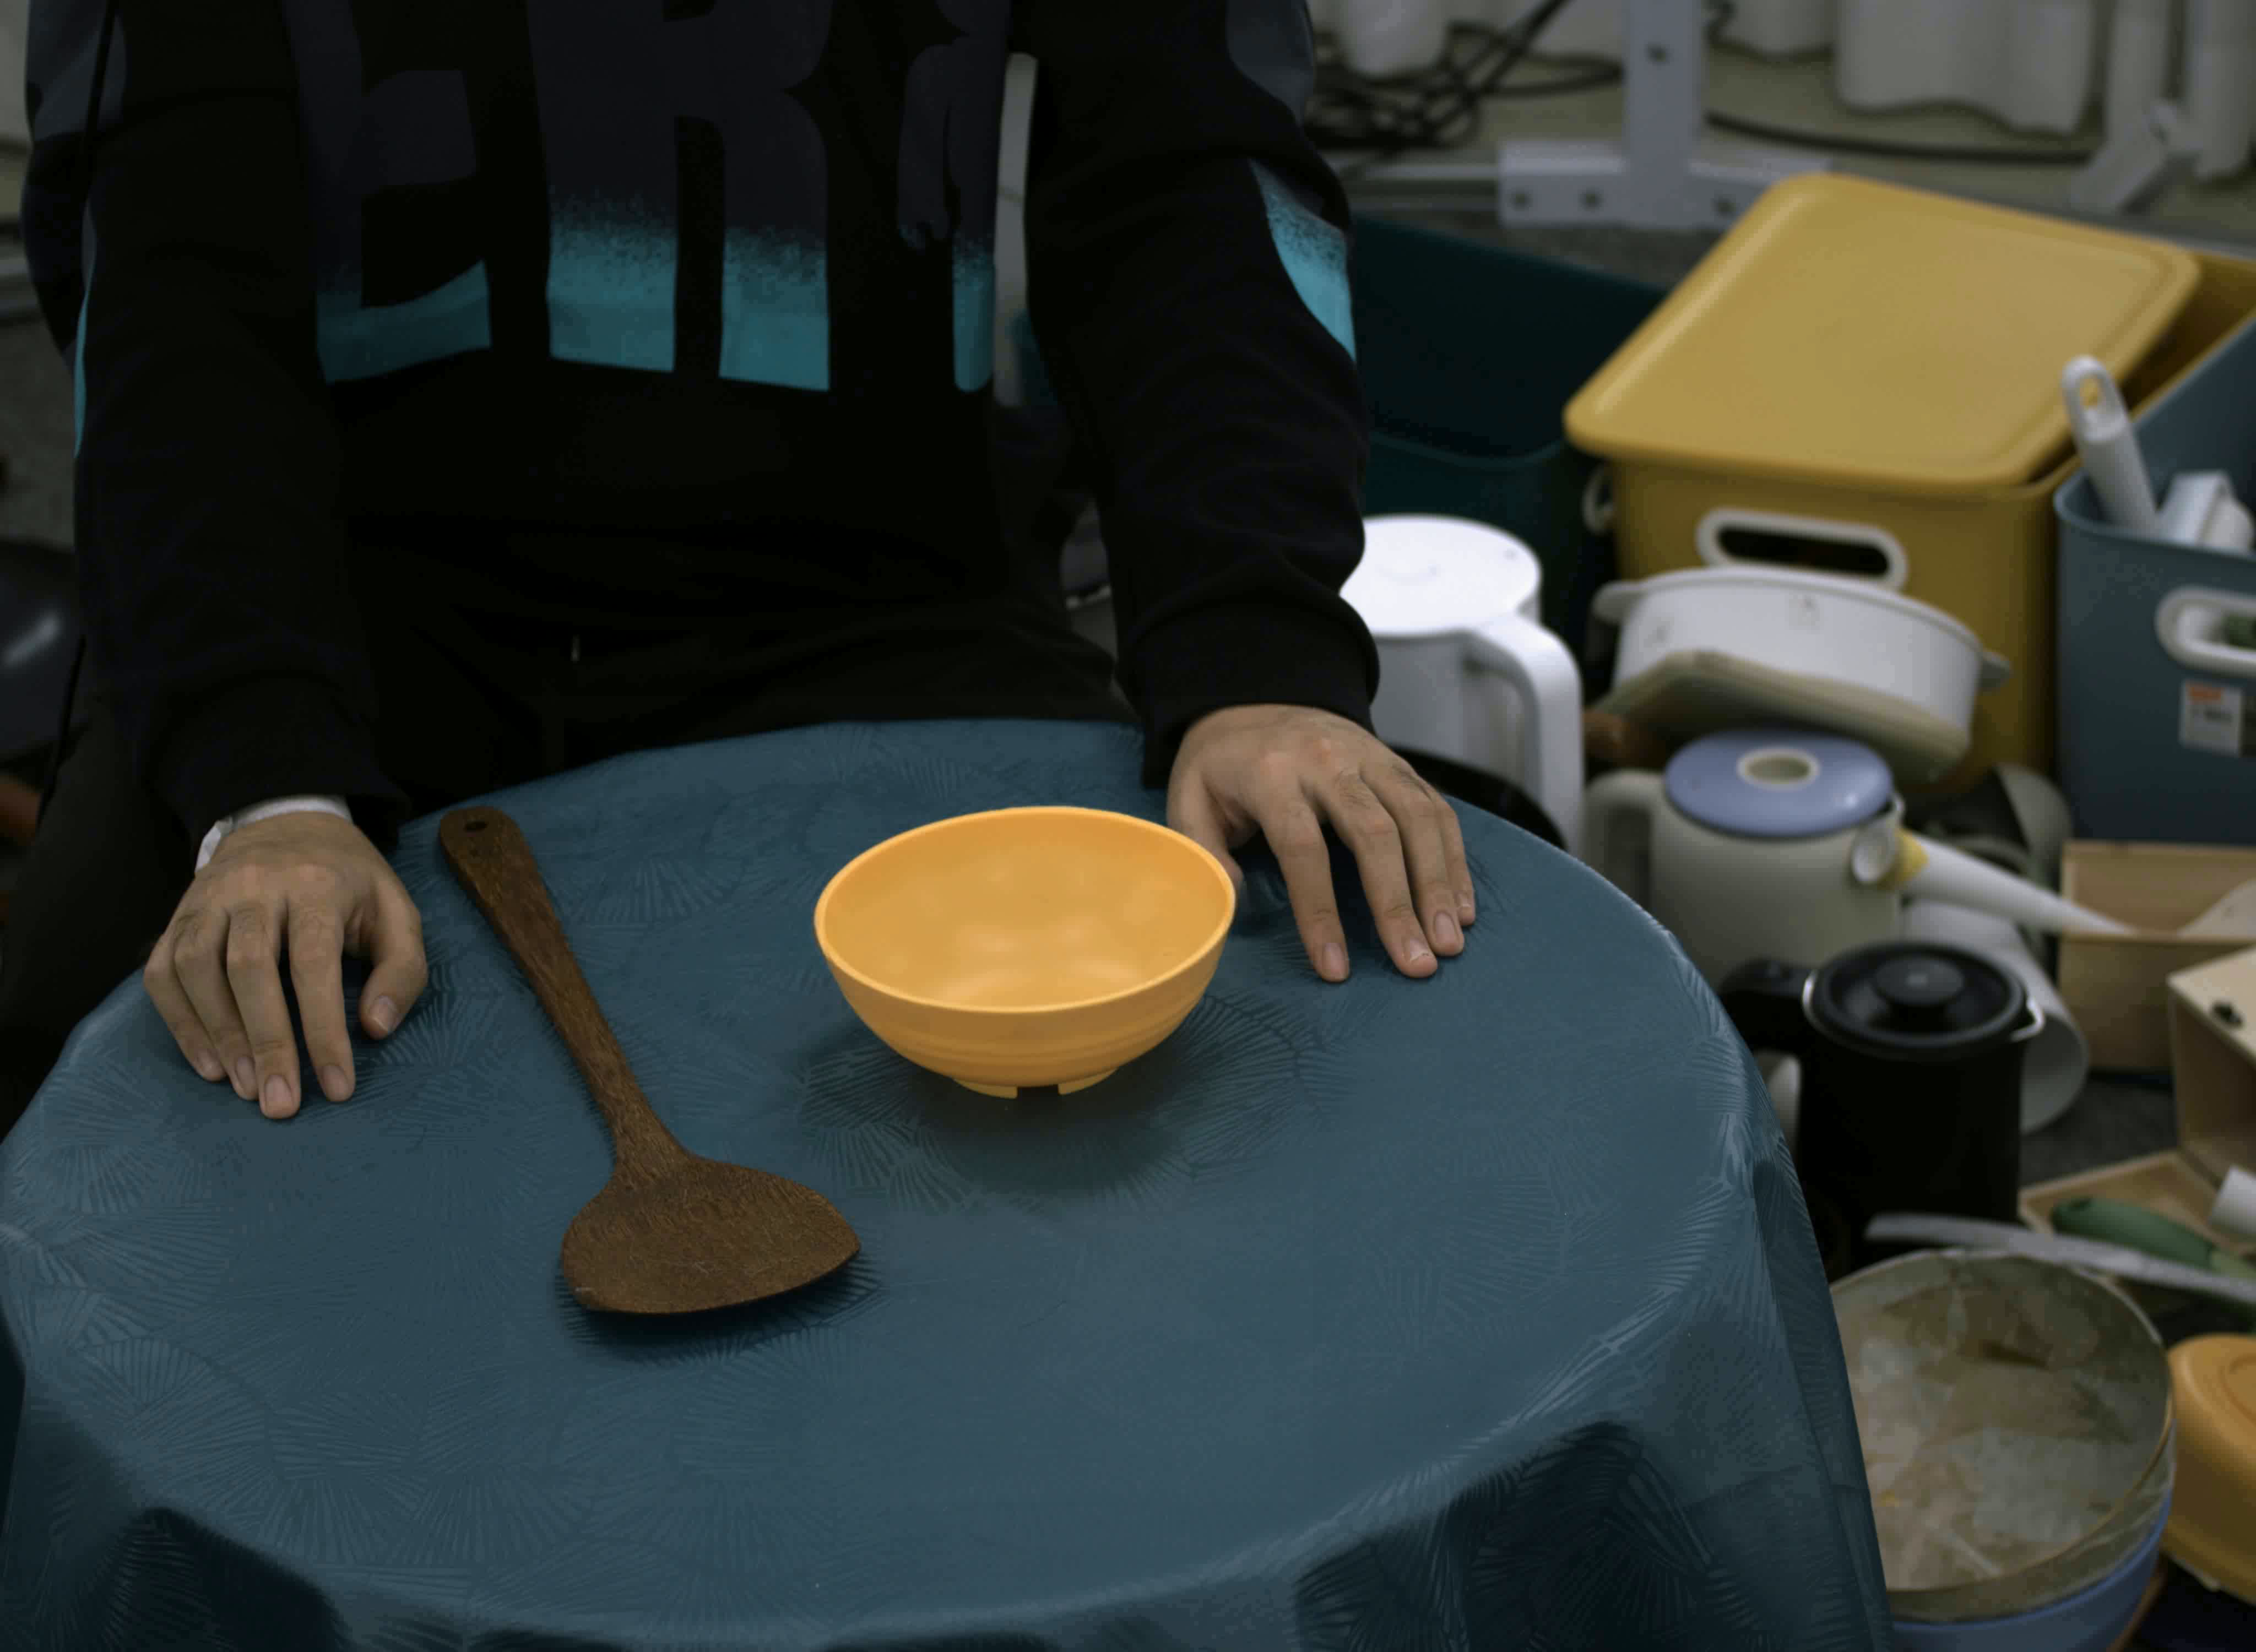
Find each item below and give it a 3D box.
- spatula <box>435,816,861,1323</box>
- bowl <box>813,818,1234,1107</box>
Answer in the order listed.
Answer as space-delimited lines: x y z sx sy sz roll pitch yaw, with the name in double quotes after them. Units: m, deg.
-0.187 0.076 1.954 0.096 0.015 0.389 -11 28 -16 "spatula"
-0.036 0.055 1.935 0.144 0.059 0.147 0 26 0 "bowl"
